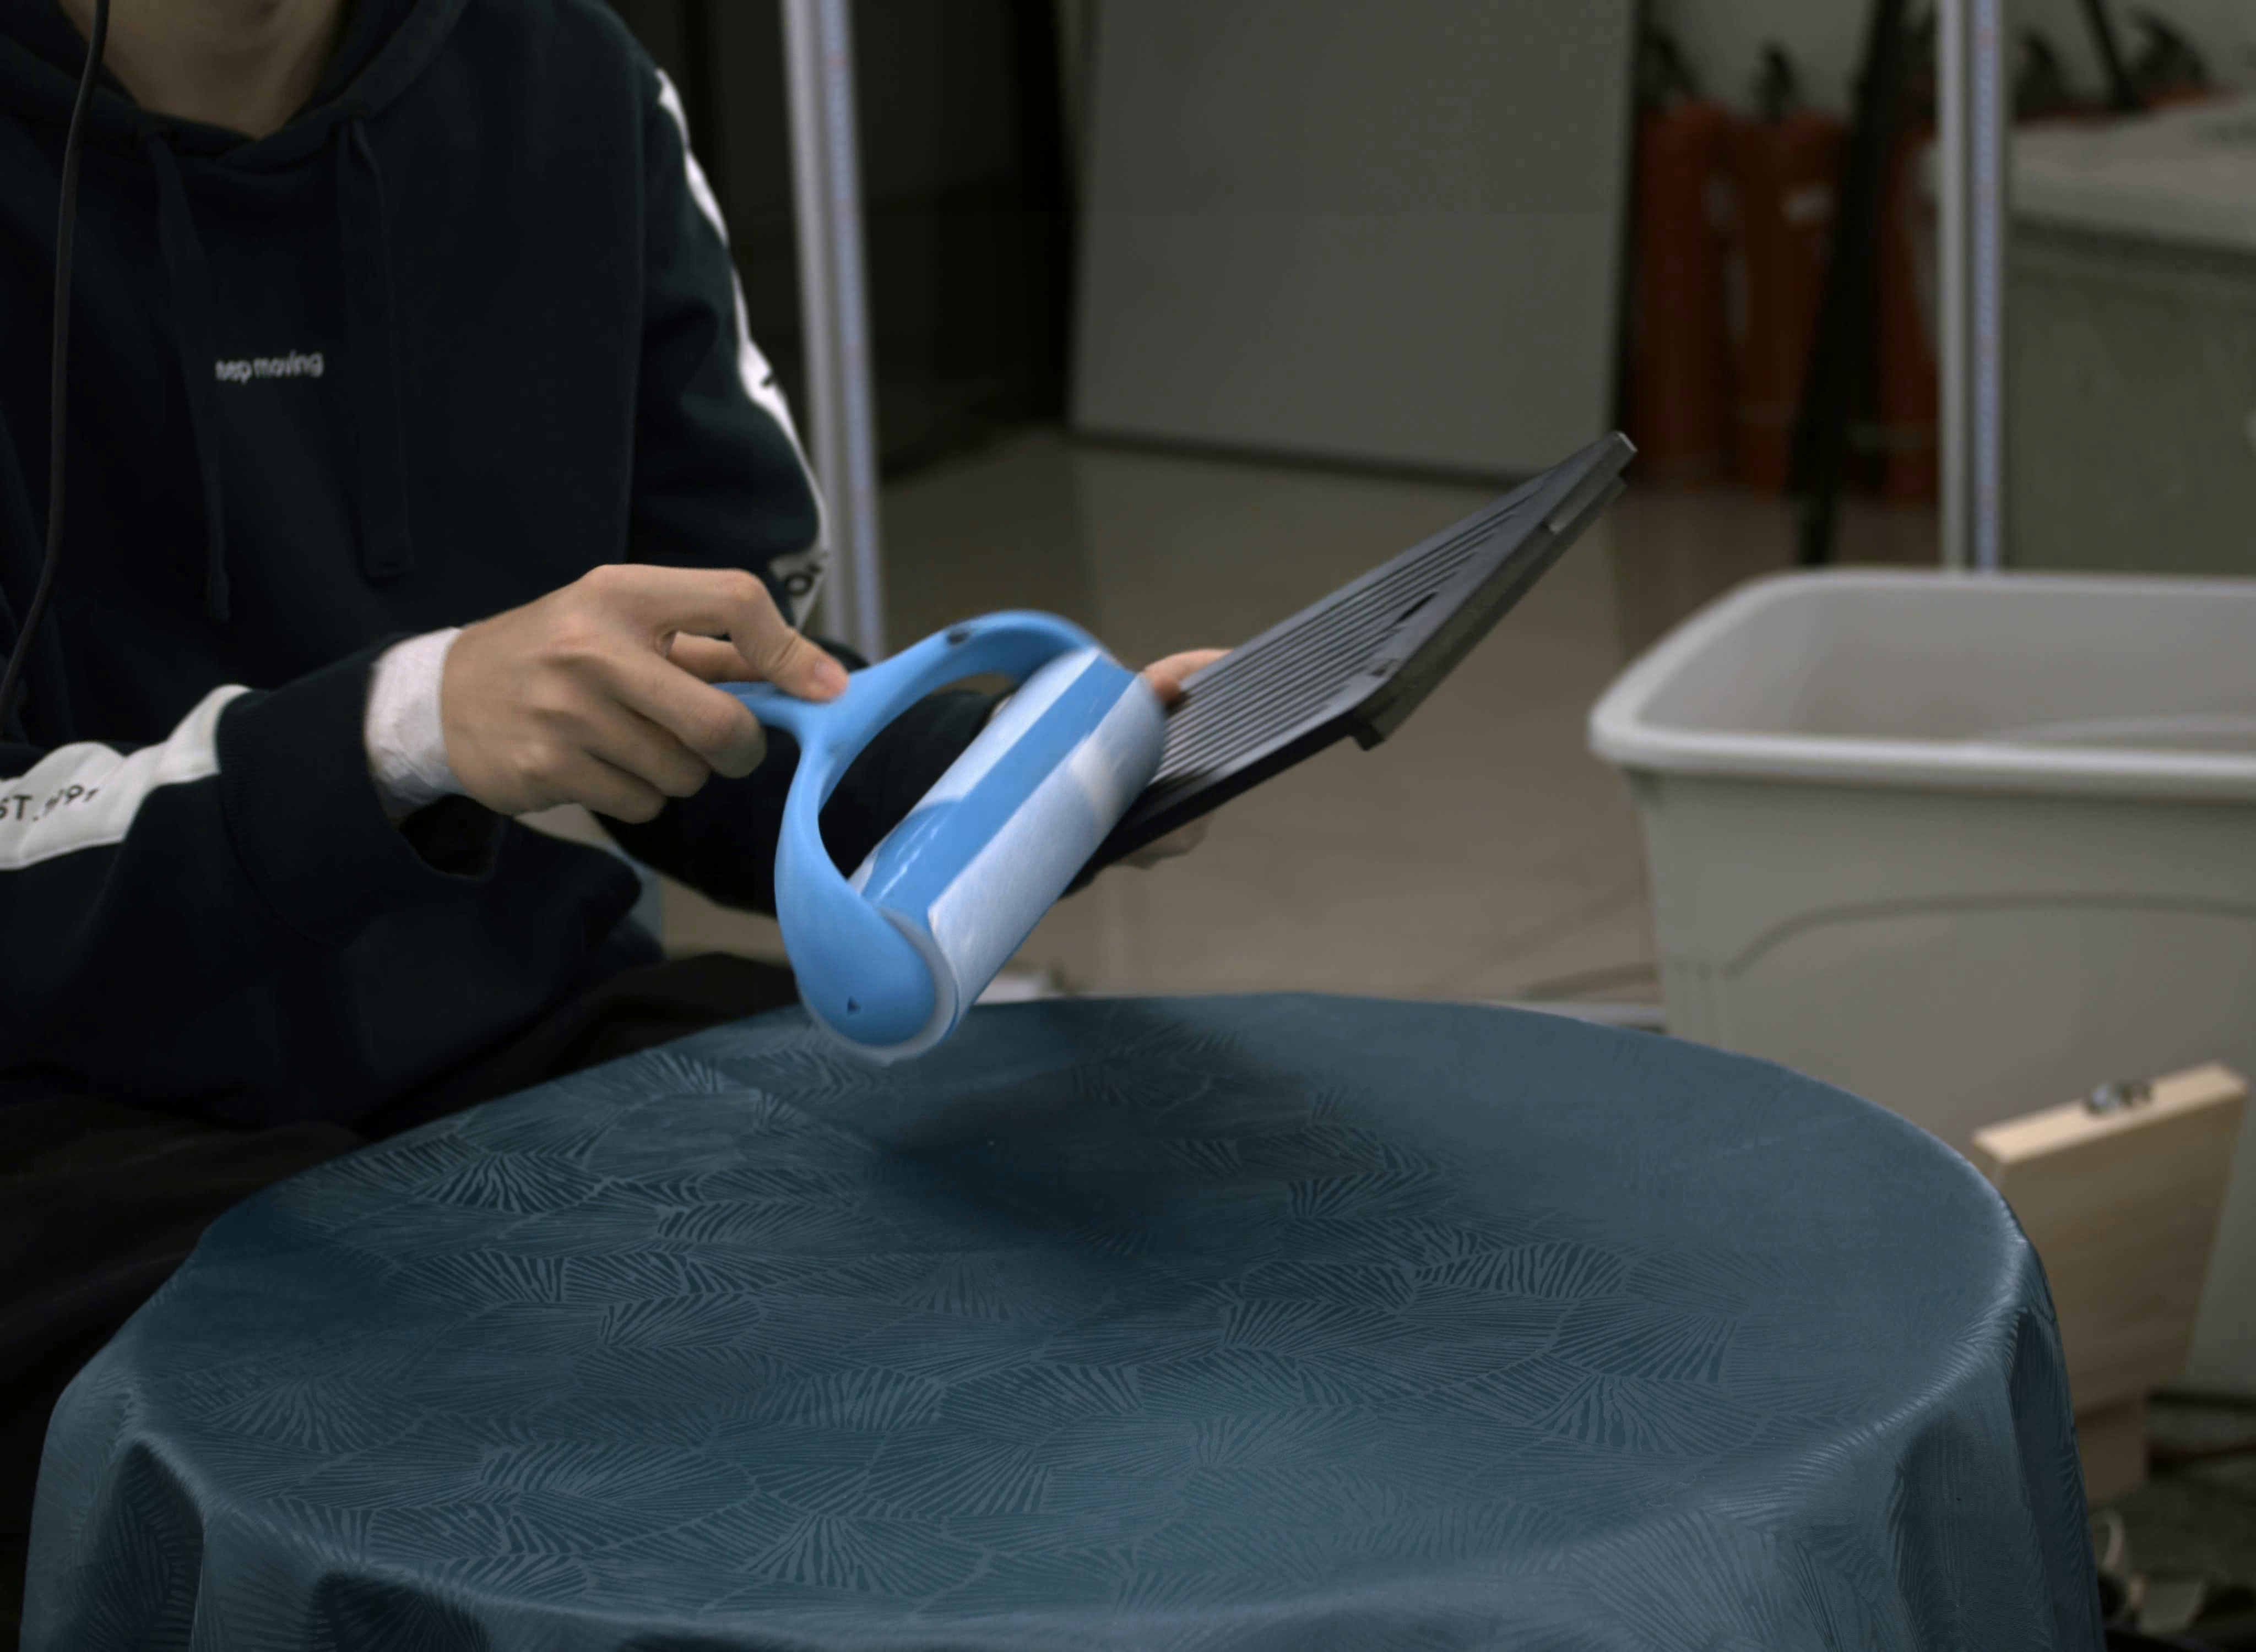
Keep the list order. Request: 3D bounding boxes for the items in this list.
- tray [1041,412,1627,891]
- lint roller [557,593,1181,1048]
[{"bbox_3d":[0.034,-0.033,1.783,0.309,0.018,0.168,-31,11,50],"label":"tray"},{"bbox_3d":[-0.095,-0.016,1.684,0.179,0.068,0.227,15,32,13],"label":"lint roller"}]
